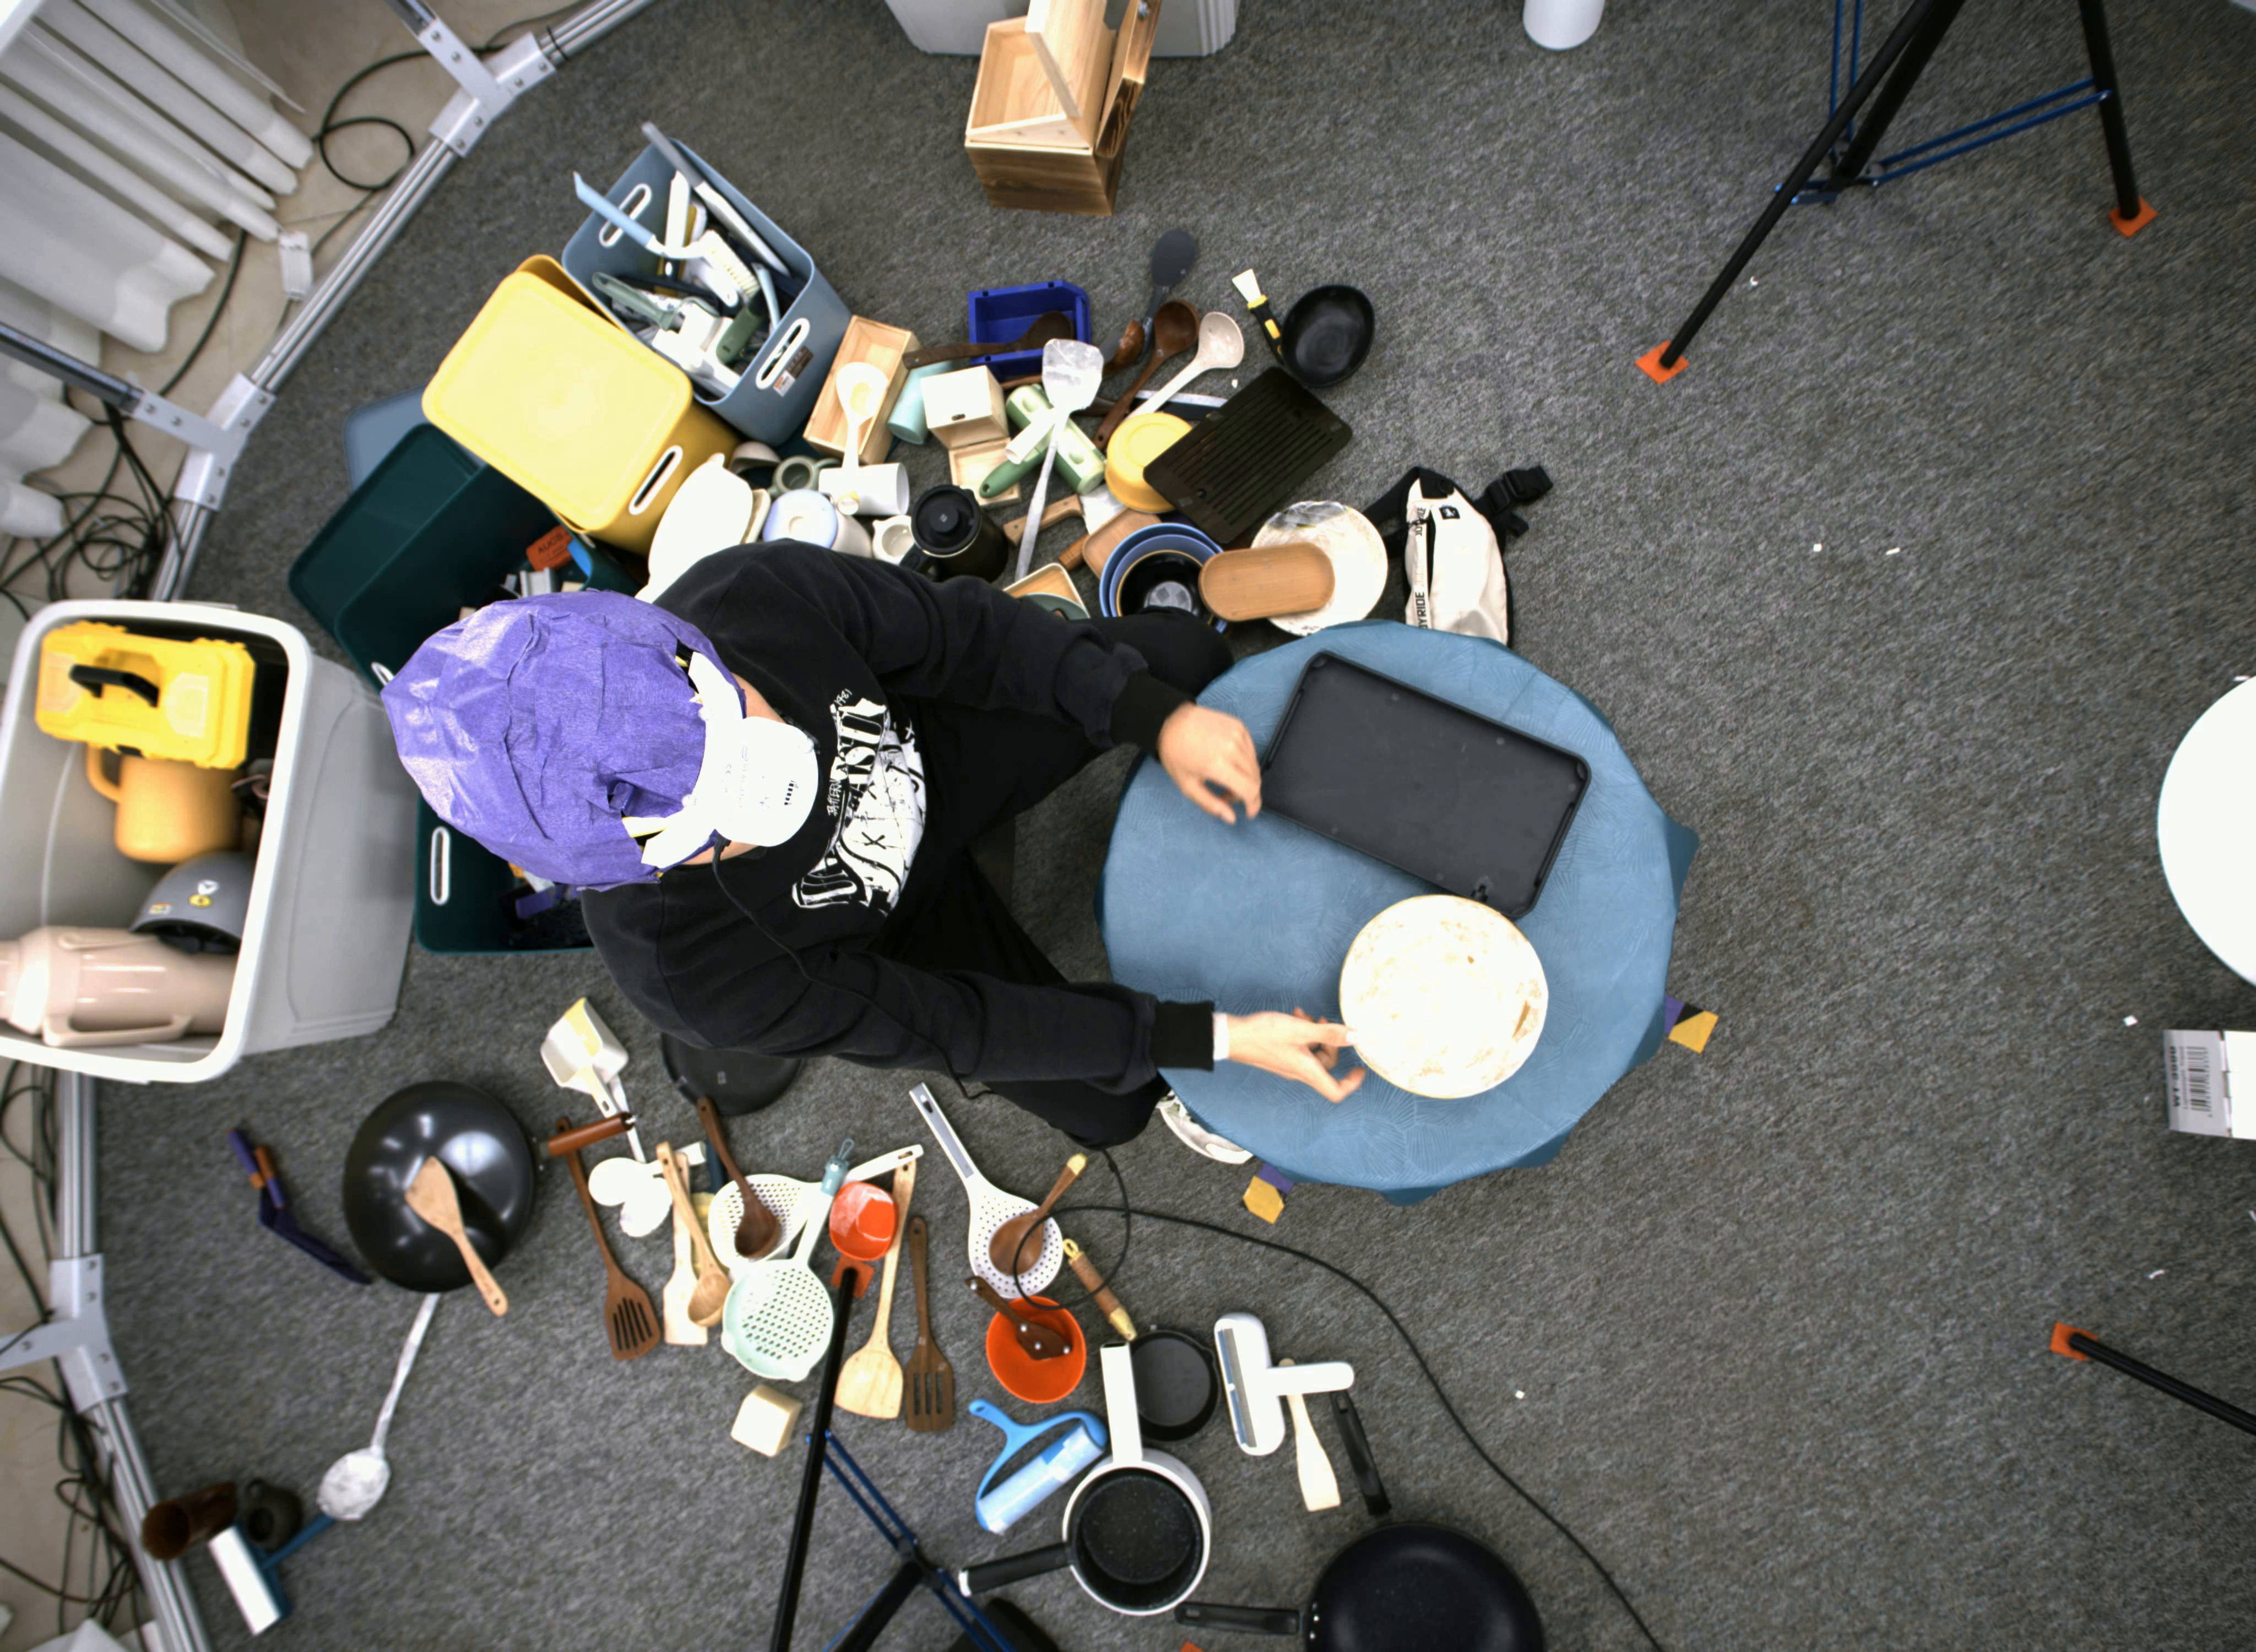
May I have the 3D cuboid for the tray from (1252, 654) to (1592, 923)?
[{"bbox_3d":[0.306,-0.042,1.448,0.317,0.037,0.184,25,90,11],"label":"tray"}]

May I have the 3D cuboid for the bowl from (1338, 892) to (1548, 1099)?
[{"bbox_3d":[0.316,0.168,1.403,0.215,0.094,0.214,-1,87,10],"label":"bowl"}]
